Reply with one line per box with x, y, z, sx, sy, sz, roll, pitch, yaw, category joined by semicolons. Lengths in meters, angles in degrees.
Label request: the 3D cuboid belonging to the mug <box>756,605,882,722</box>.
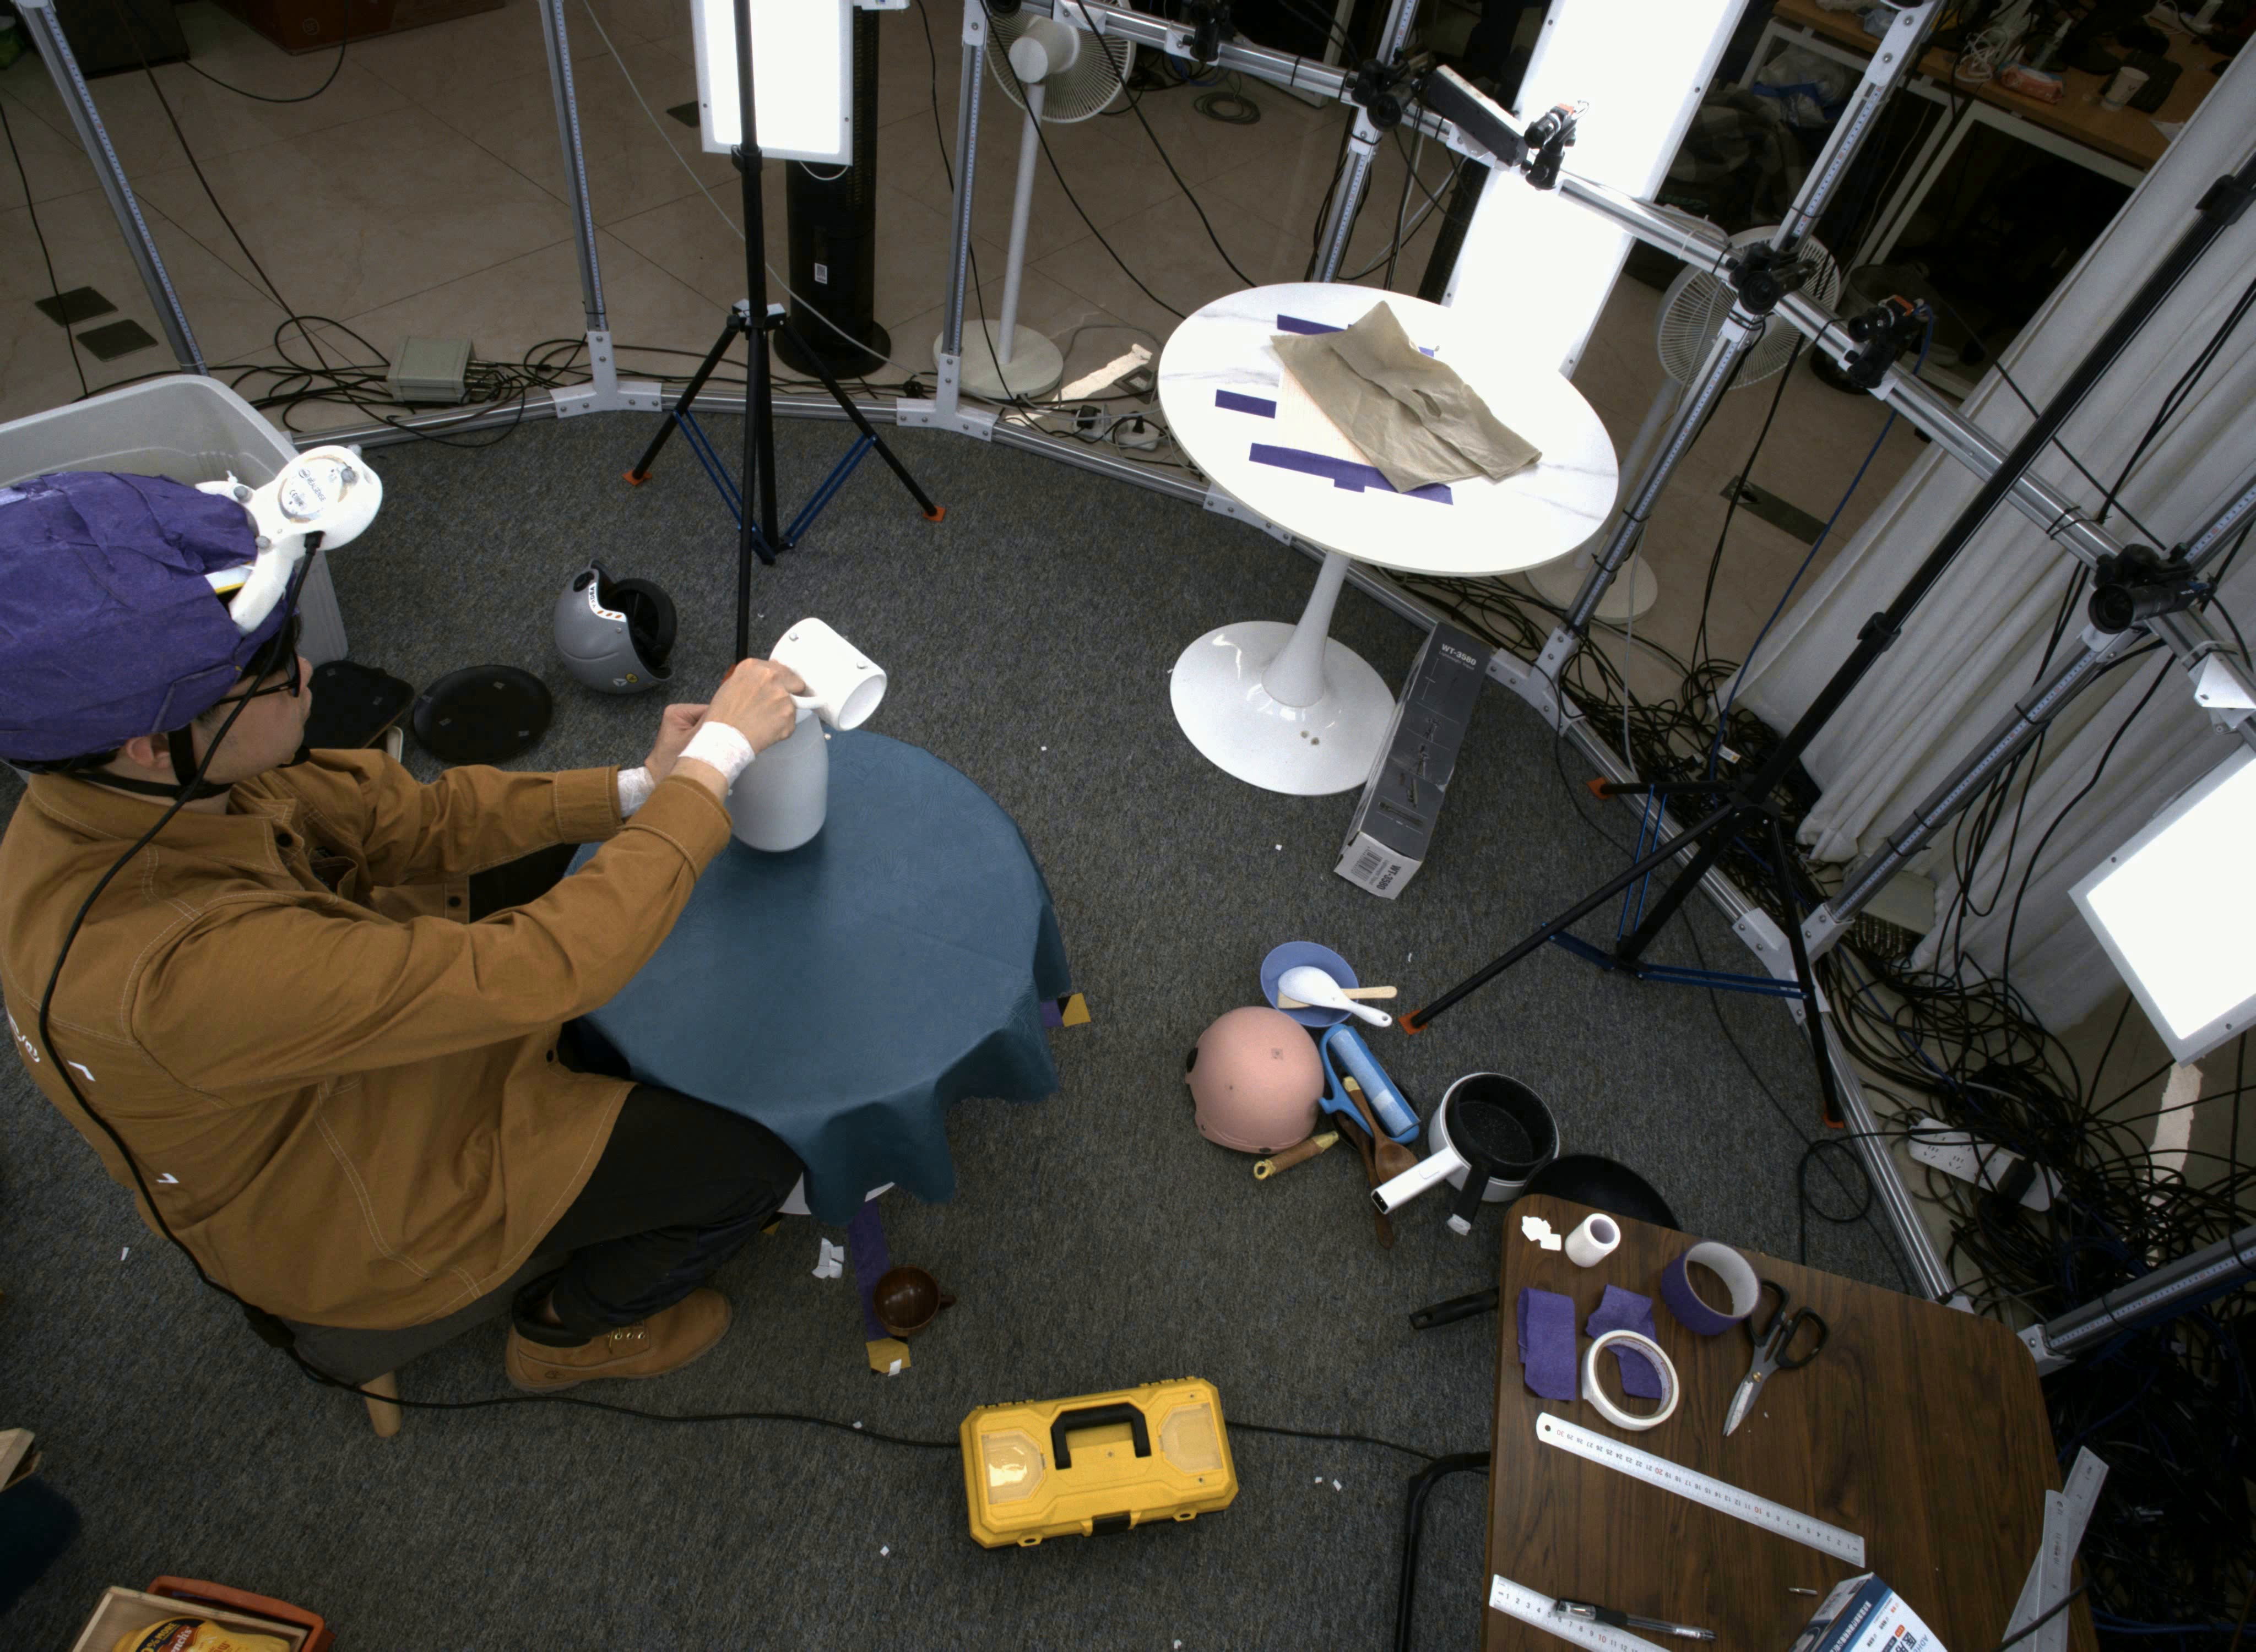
-0.337;-0.167;1.383;0.100;0.086;0.118;37;36;11;mug

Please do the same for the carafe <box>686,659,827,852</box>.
-0.450;-0.088;1.573;0.168;0.252;0.130;-10;60;-21;carafe
